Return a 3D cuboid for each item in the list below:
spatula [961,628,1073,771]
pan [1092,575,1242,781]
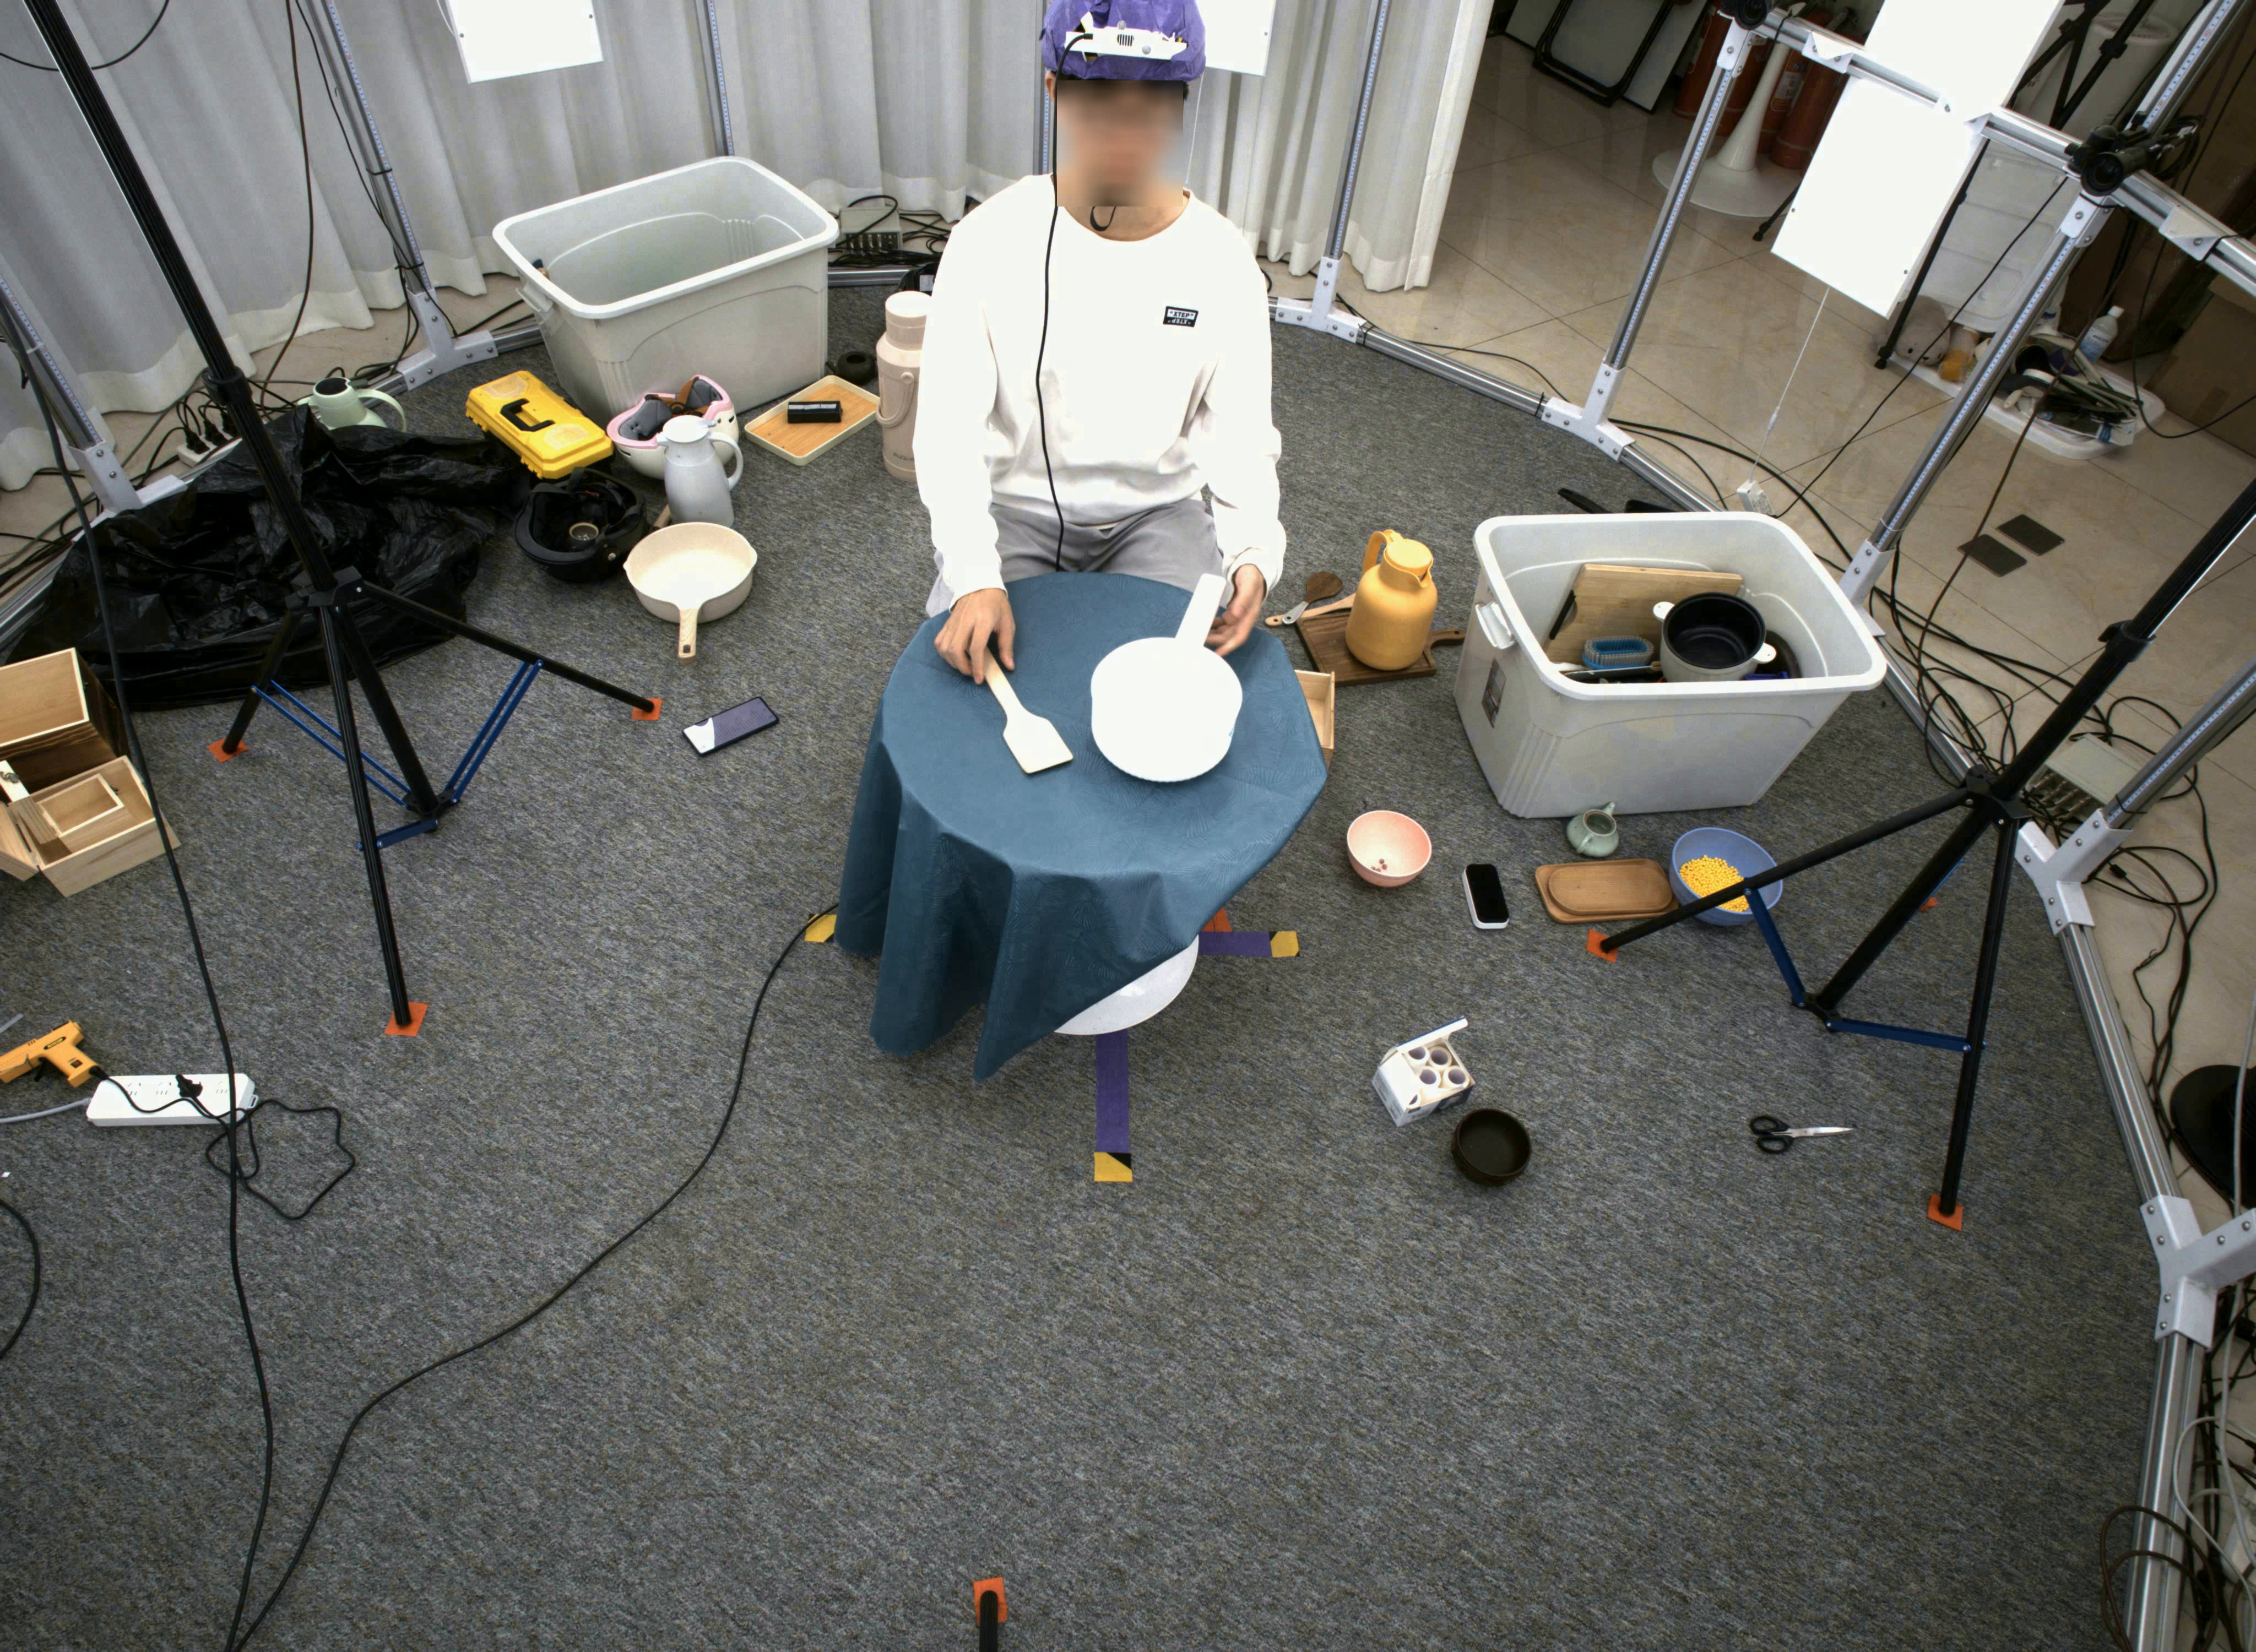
[{"bbox_3d":[-0.170,-0.184,1.806,0.072,0.010,0.299,-19,53,-18],"label":"spatula"},{"bbox_3d":[0.073,-0.208,1.787,0.202,0.099,0.362,15,48,9],"label":"pan"}]
